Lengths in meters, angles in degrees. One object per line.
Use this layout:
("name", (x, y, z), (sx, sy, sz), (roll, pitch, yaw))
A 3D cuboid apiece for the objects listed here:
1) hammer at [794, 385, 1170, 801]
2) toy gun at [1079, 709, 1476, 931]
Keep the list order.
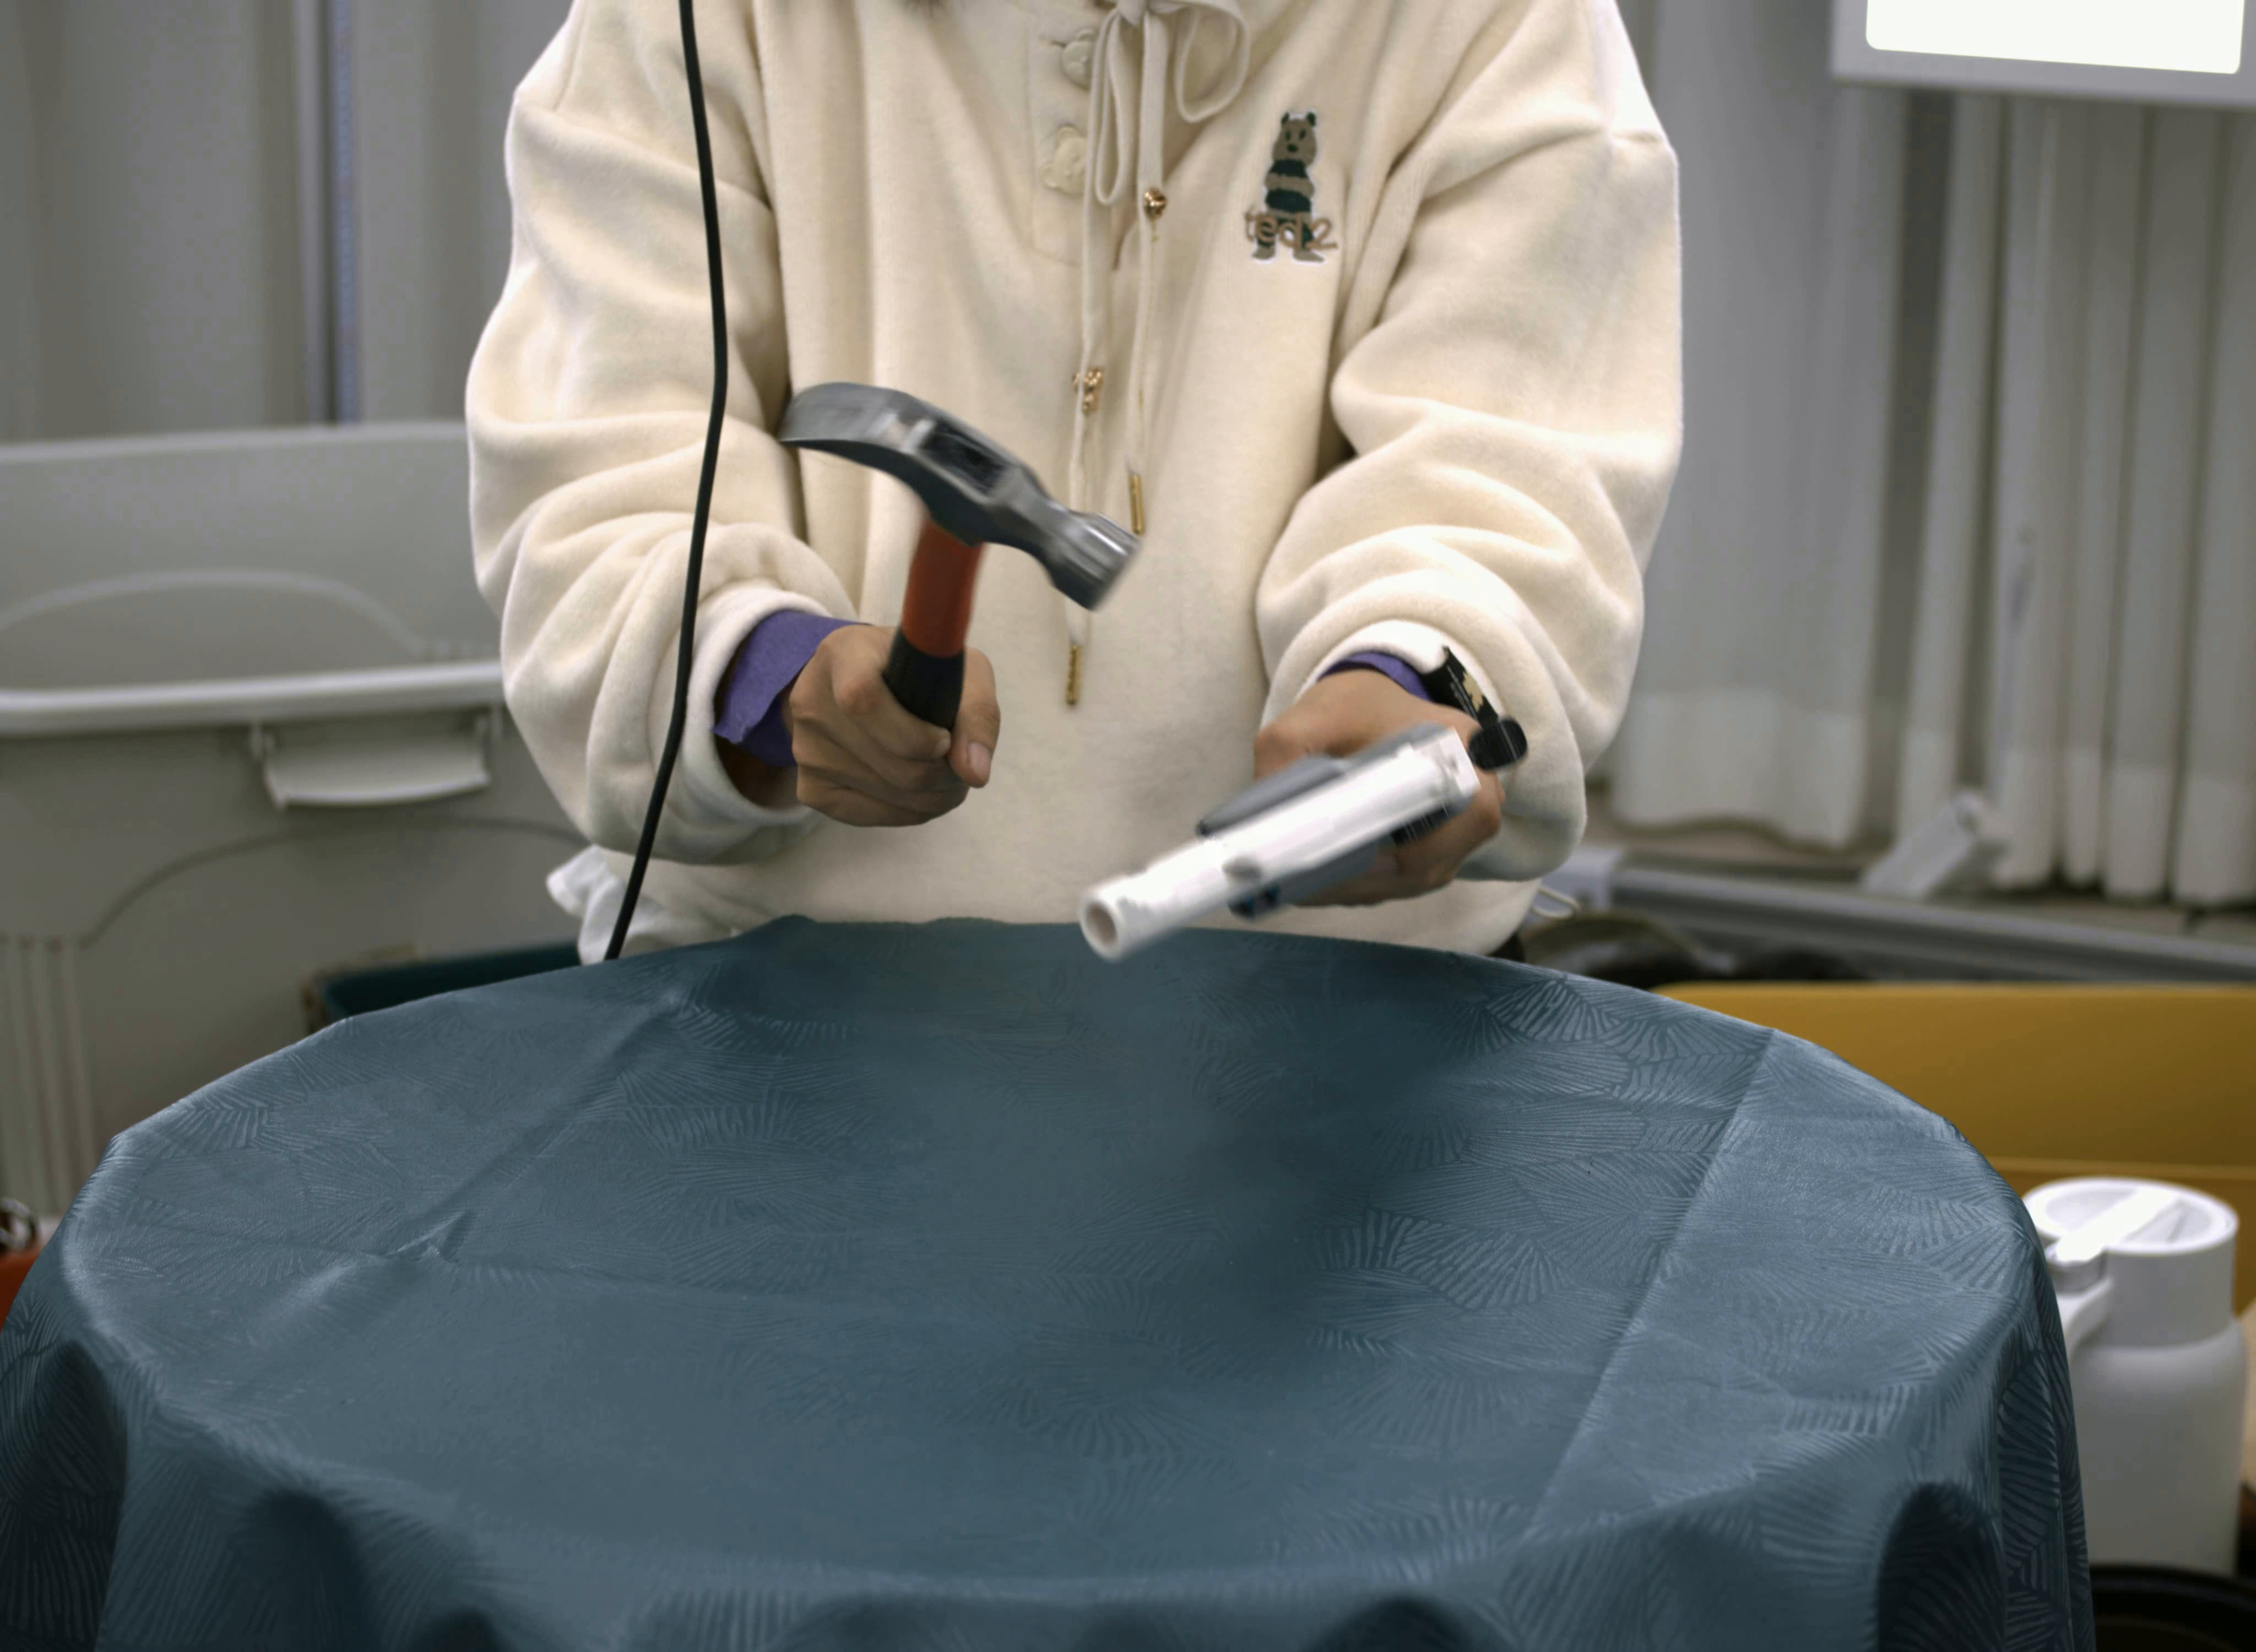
("hammer", (-0.057, -0.065, 1.642), (0.110, 0.026, 0.278), (27, -20, 2))
("toy gun", (0.038, 0.000, 1.586), (0.210, 0.039, 0.141), (-22, 0, -40))
